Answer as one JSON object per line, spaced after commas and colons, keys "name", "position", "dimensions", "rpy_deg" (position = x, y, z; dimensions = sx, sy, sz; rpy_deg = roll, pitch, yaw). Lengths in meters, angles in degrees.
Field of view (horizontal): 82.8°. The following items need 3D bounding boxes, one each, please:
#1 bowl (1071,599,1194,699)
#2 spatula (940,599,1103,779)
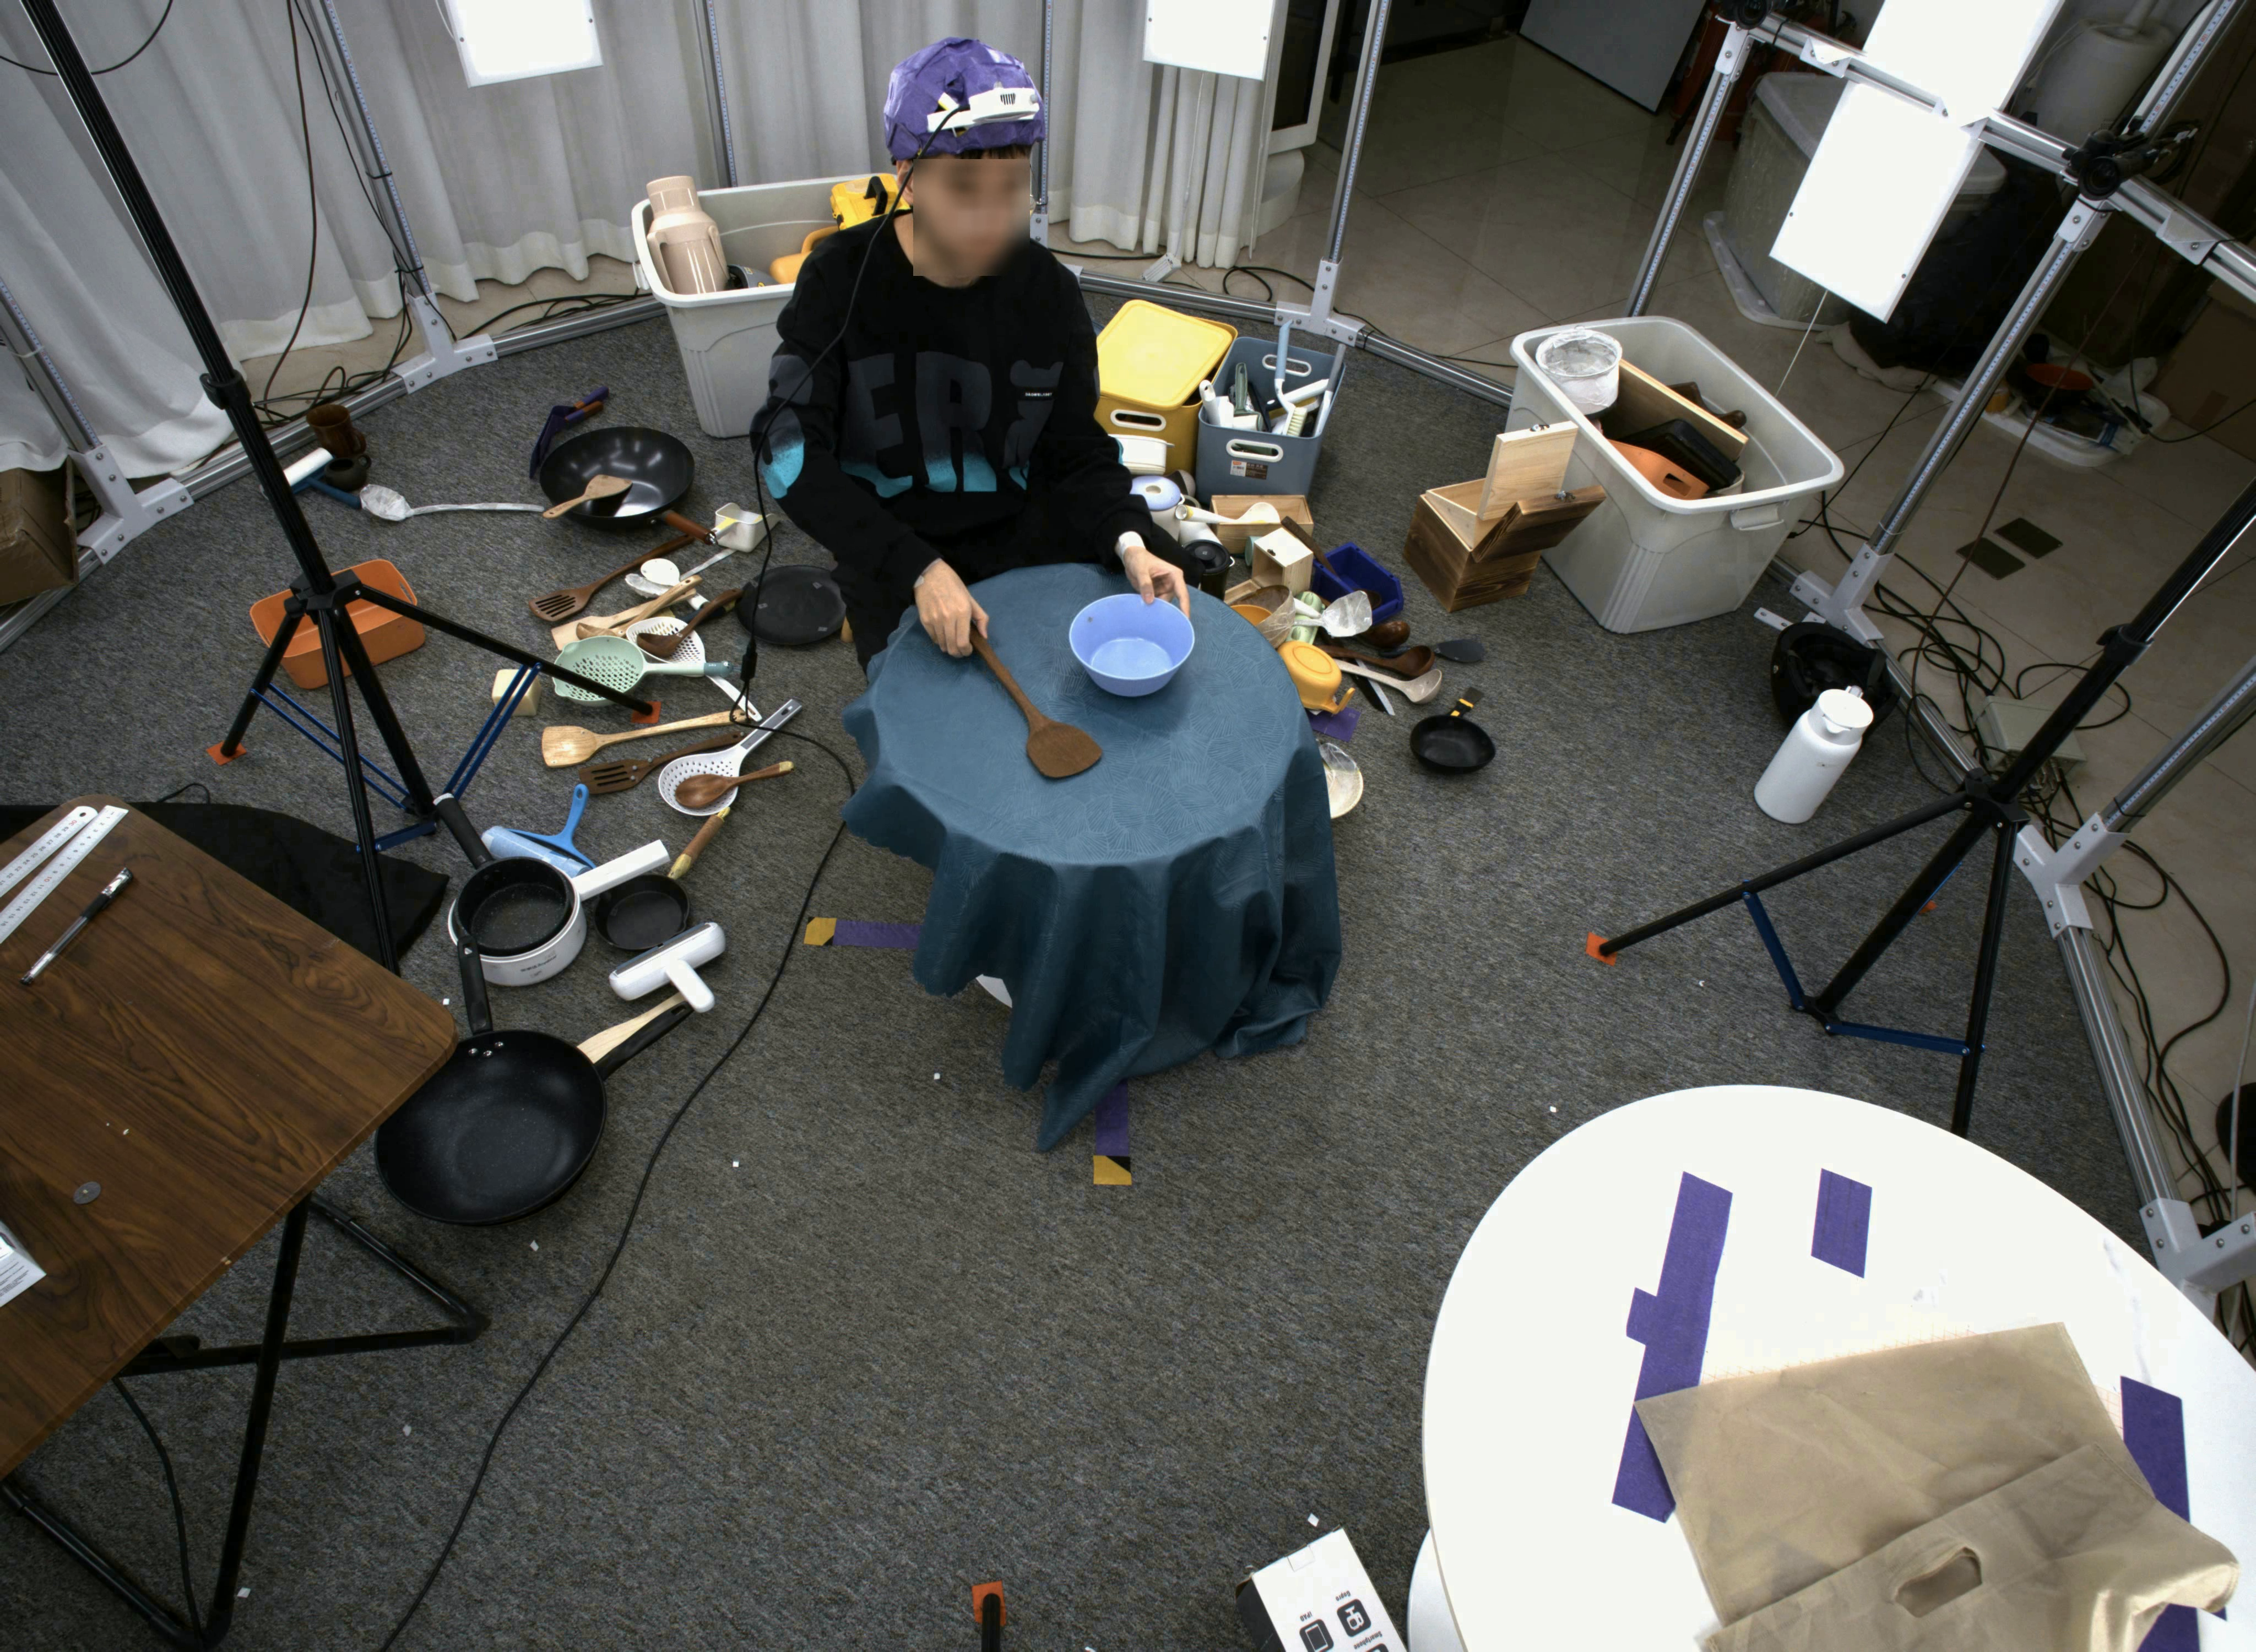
{"name": "bowl", "position": [0.007, -0.245, 1.844], "dimensions": [0.176, 0.068, 0.180], "rpy_deg": [0, 48, 0]}
{"name": "spatula", "position": [-0.170, -0.206, 1.834], "dimensions": [0.096, 0.015, 0.393], "rpy_deg": [-24, 58, -23]}
